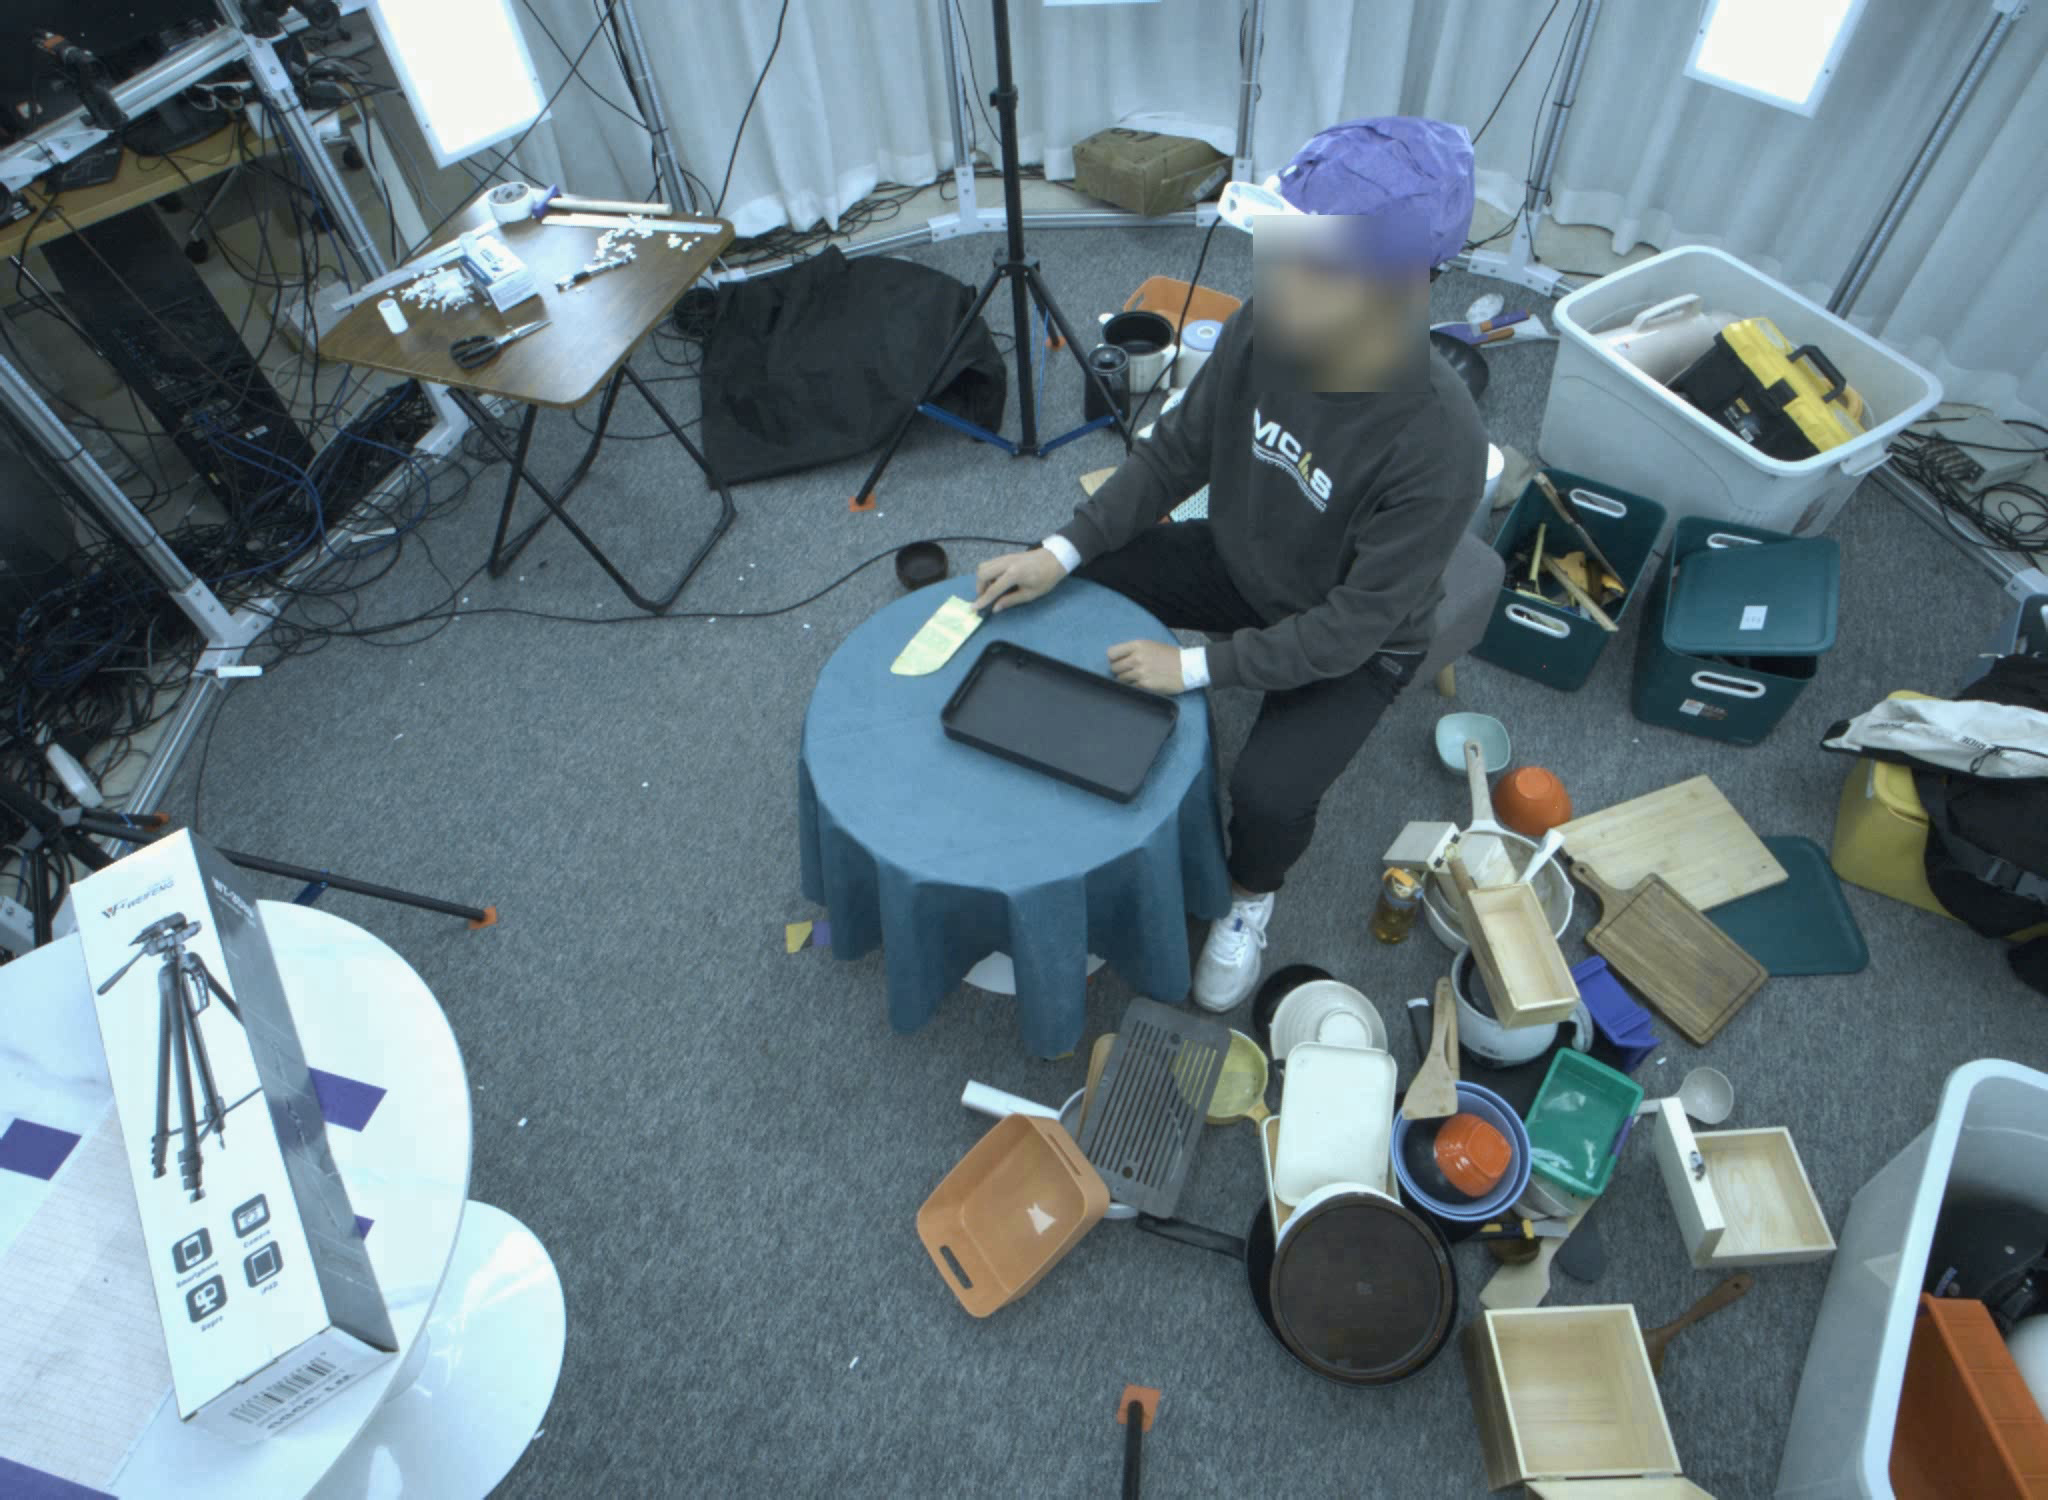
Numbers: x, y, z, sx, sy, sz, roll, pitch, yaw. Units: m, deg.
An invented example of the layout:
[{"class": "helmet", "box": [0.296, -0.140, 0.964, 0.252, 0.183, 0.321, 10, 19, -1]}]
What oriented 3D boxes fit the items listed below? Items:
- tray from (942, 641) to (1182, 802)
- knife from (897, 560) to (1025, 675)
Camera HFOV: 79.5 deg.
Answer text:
[{"class": "tray", "box": [0.056, -0.045, 1.804, 0.314, 0.037, 0.184, 19, 56, 15]}, {"class": "knife", "box": [-0.099, -0.213, 1.941, 0.080, 0.027, 0.291, 33, 63, 19]}]
